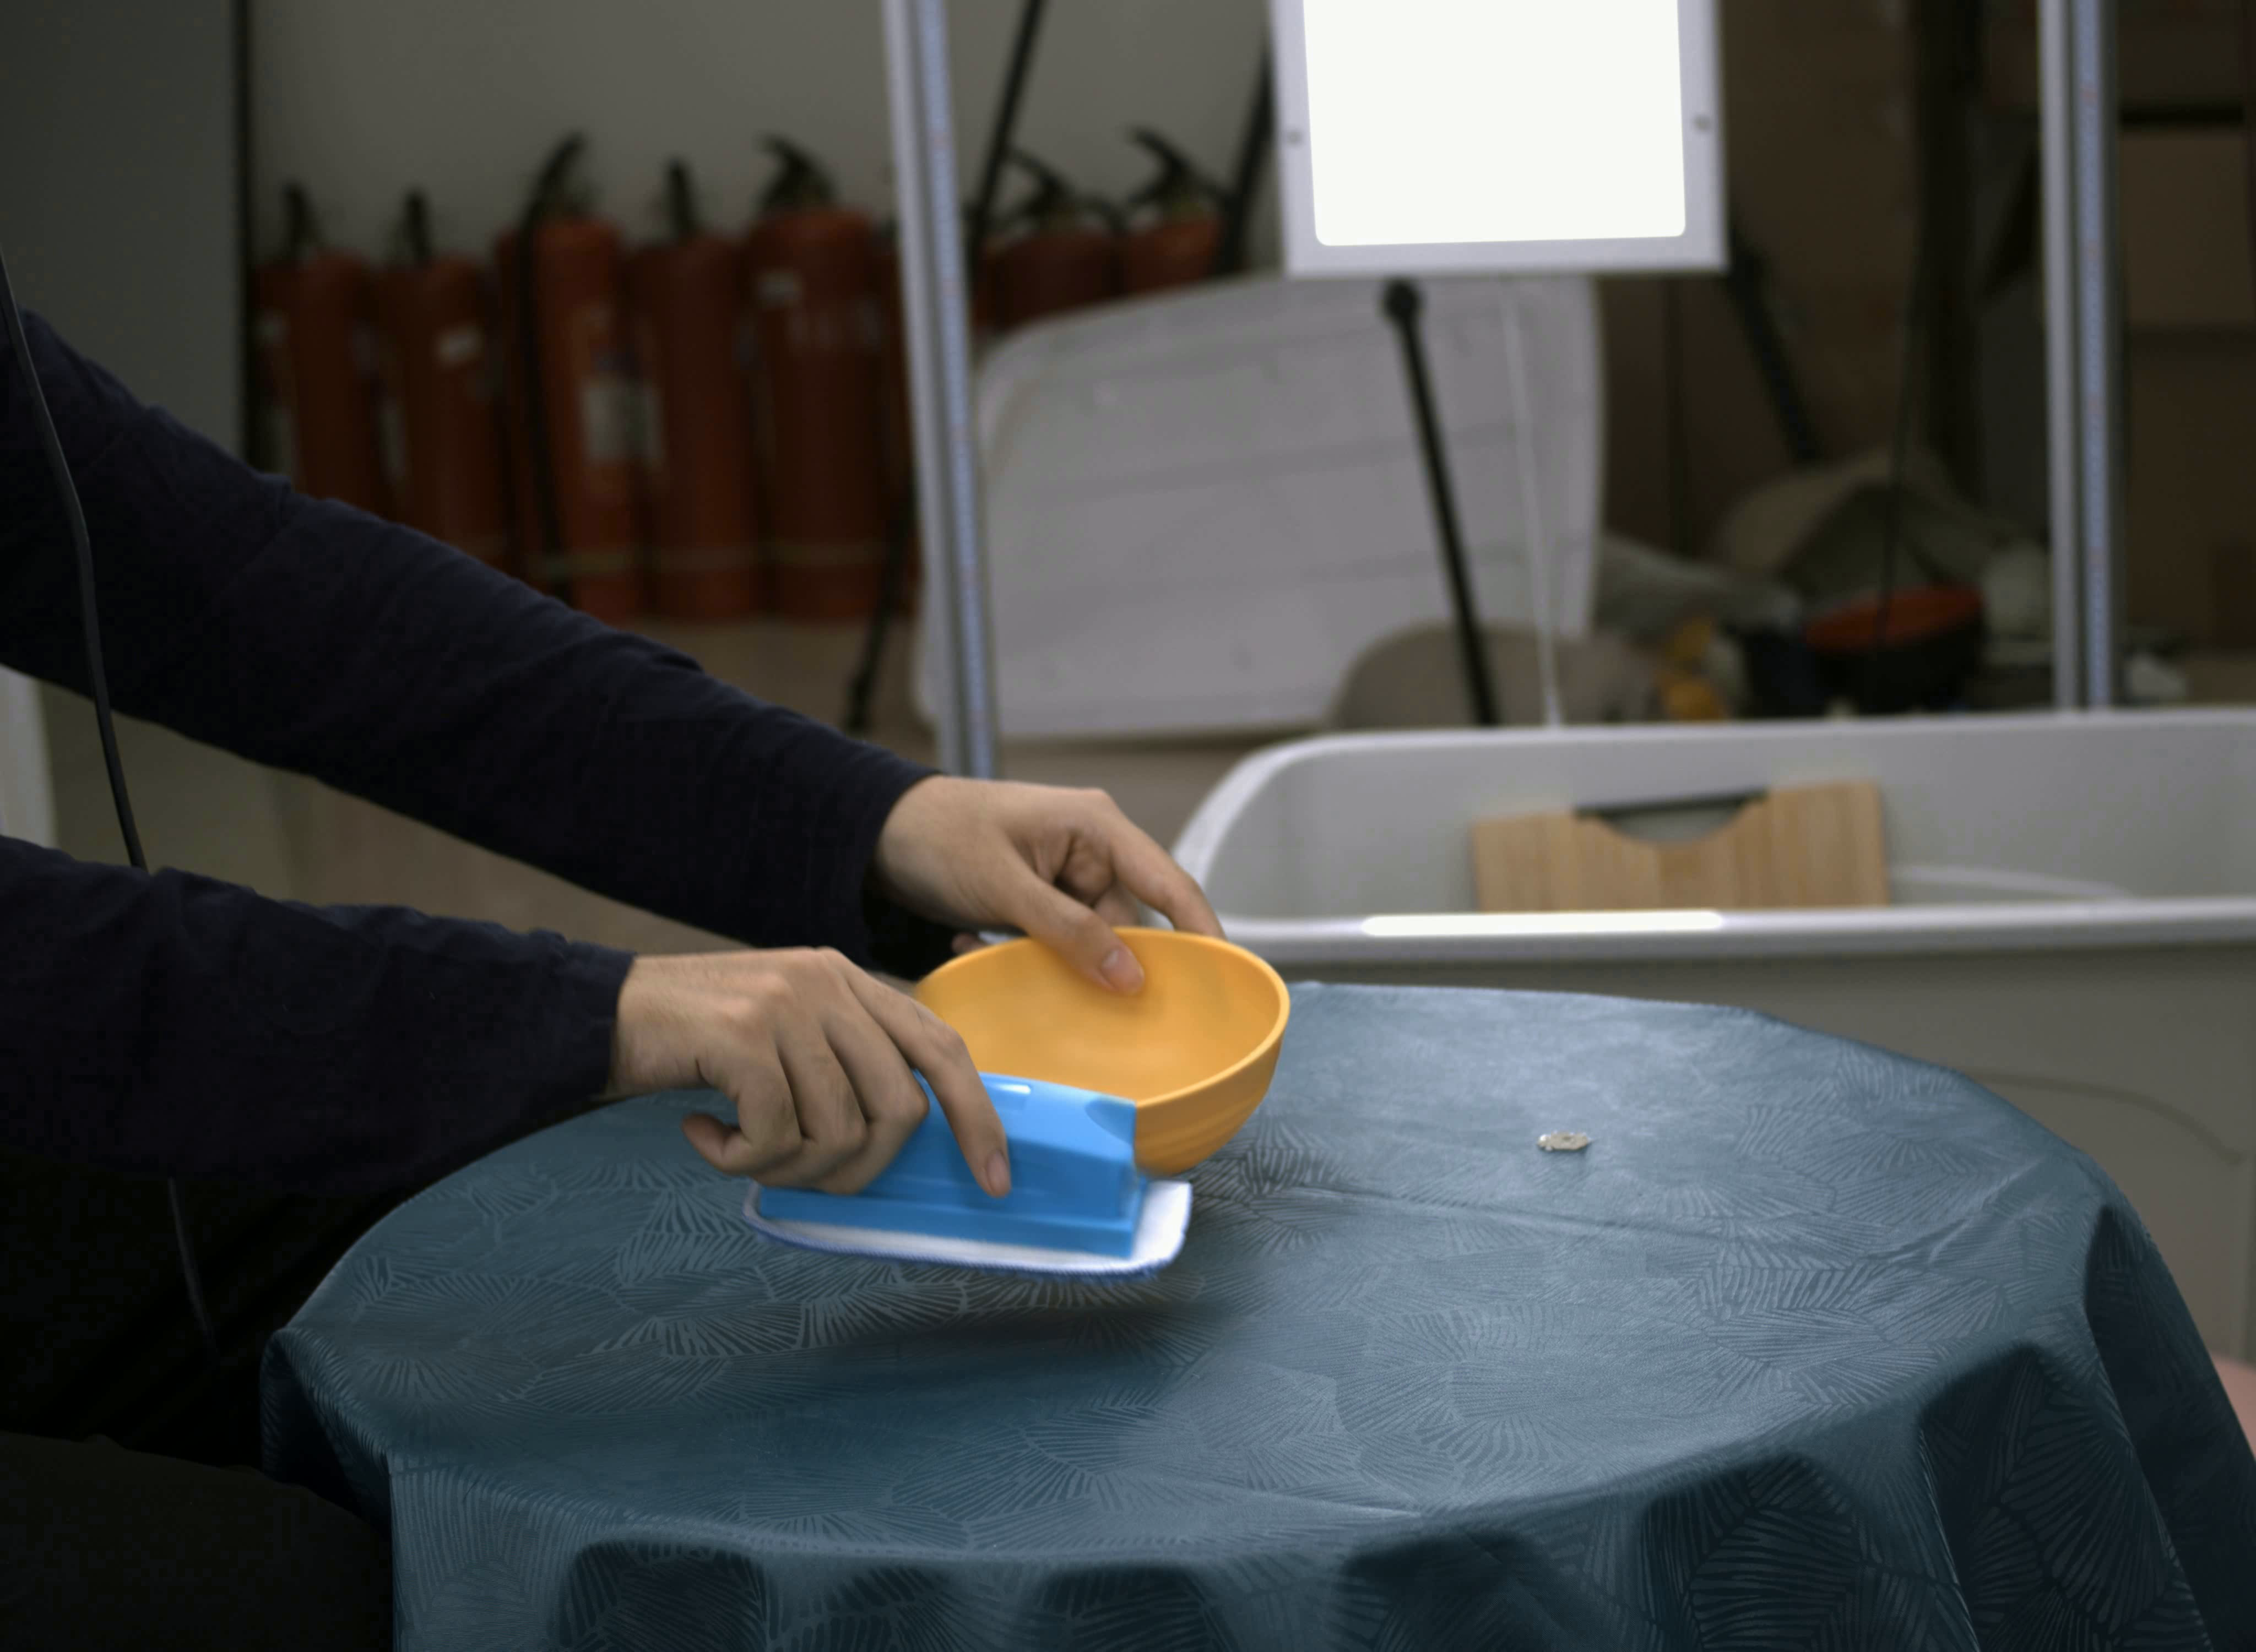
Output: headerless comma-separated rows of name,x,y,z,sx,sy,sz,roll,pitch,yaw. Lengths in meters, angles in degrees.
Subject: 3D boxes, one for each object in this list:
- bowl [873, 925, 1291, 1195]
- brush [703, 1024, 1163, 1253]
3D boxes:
bowl,-0.014,0.092,1.902,0.145,0.060,0.145,-4,25,1
brush,-0.059,0.098,1.753,0.144,0.056,0.083,9,18,8
